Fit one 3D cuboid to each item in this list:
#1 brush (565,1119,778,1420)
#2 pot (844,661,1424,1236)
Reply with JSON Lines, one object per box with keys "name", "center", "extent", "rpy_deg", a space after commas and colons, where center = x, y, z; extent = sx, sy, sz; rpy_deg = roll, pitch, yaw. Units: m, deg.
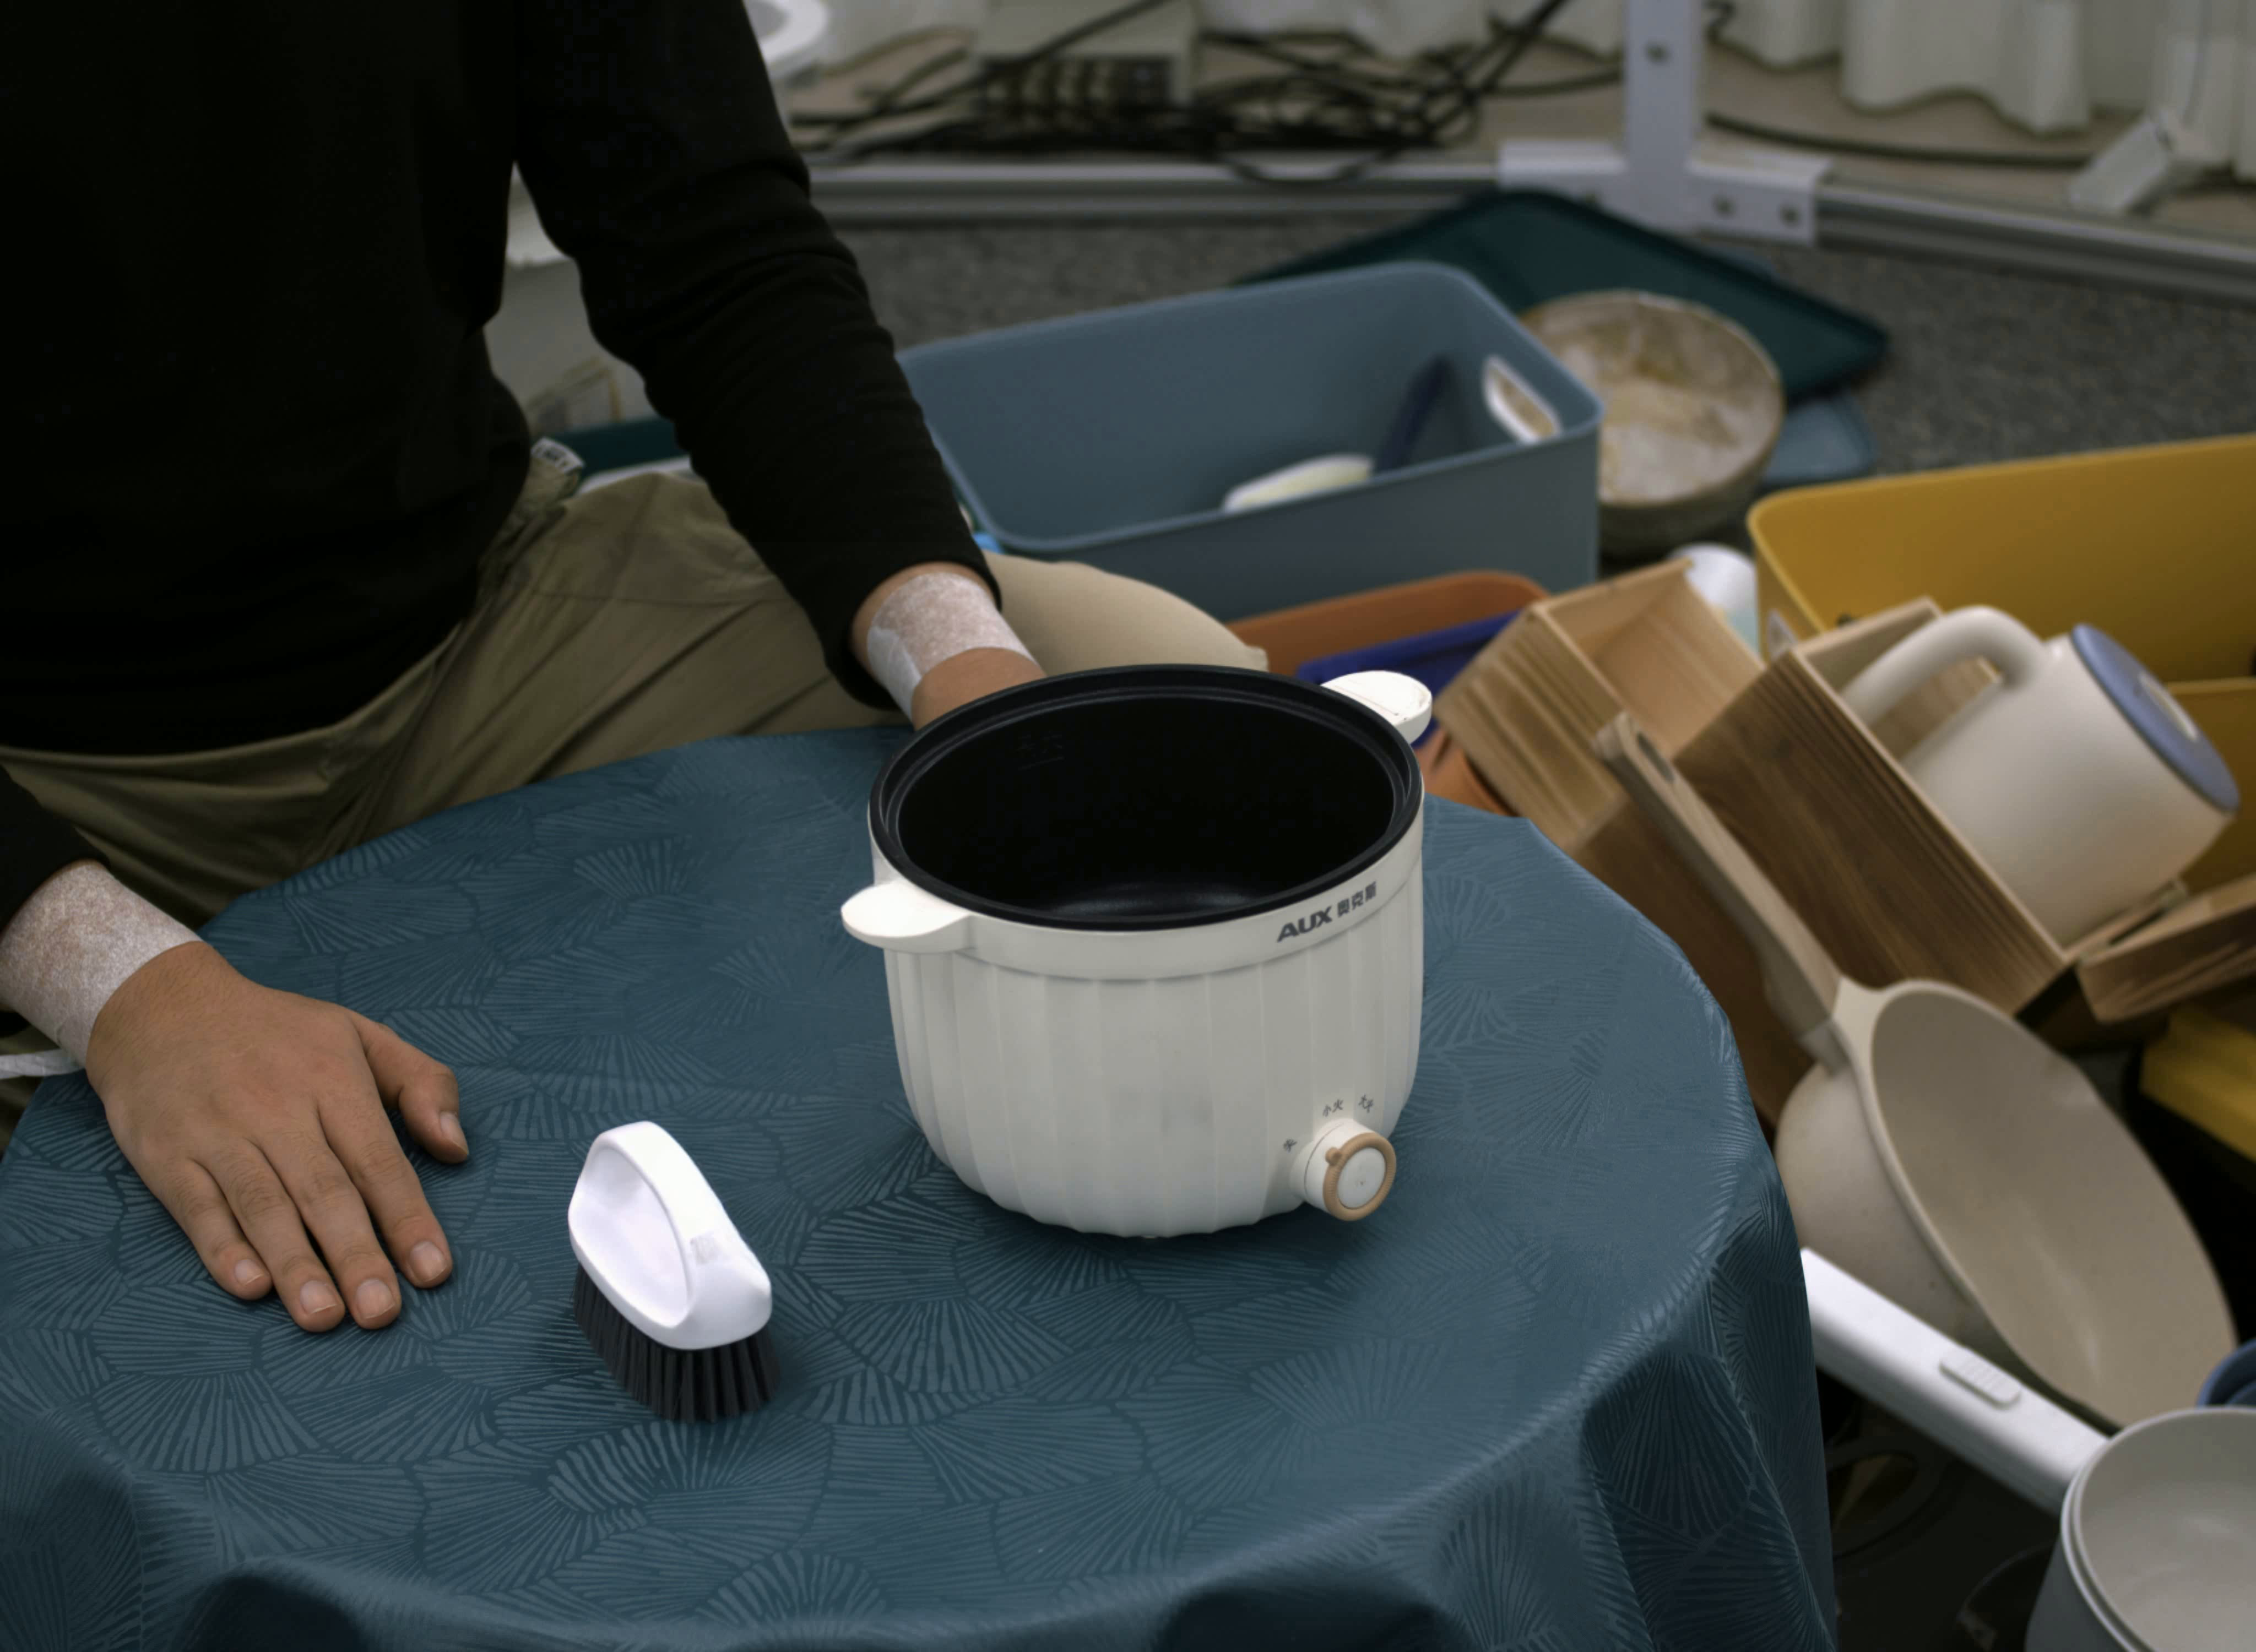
{"name": "brush", "center": [-0.147, 0.133, 1.774], "extent": [0.050, 0.072, 0.100], "rpy_deg": [-14, 29, -22]}
{"name": "pot", "center": [0.013, 0.046, 1.857], "extent": [0.243, 0.141, 0.190], "rpy_deg": [-25, 31, -34]}
